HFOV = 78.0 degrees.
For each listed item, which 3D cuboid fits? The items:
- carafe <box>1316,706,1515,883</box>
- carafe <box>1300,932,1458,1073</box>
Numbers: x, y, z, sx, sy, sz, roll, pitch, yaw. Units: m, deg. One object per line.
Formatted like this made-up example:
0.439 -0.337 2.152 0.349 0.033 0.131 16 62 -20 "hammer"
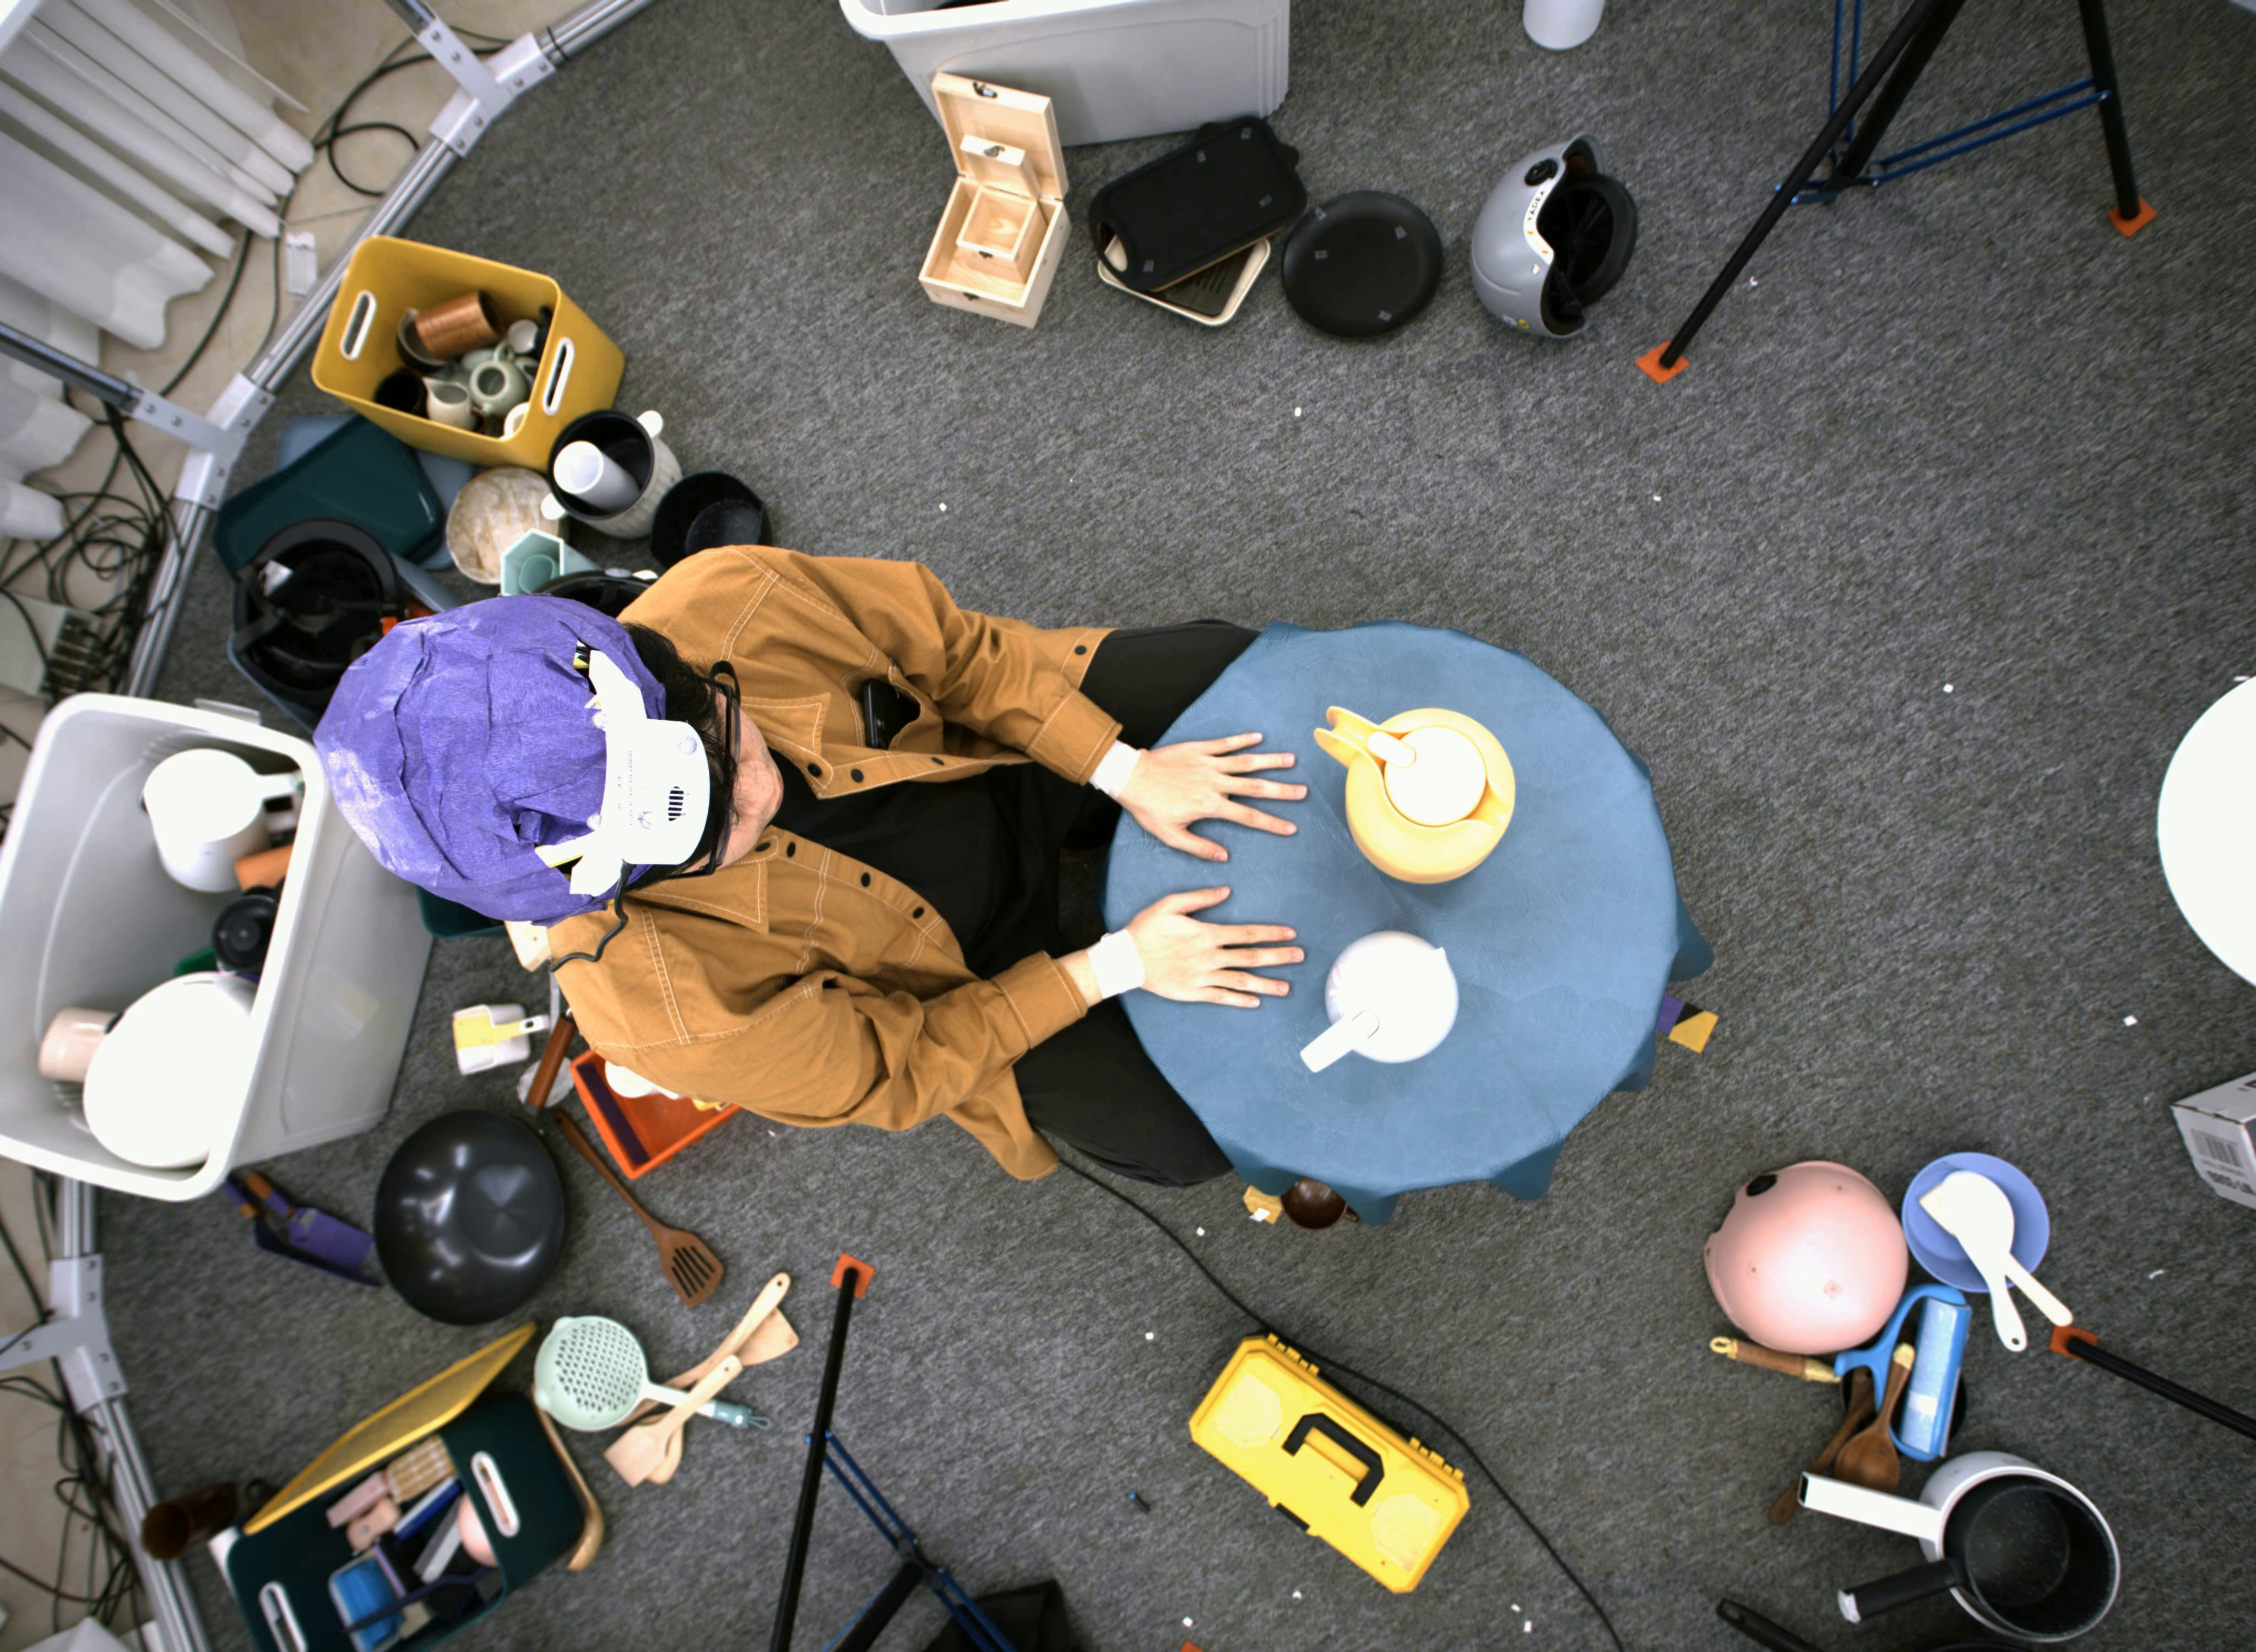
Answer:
0.276 -0.045 1.334 0.202 0.261 0.163 34 90 10 "carafe"
0.240 0.177 1.336 0.168 0.249 0.132 -39 79 6 "carafe"
